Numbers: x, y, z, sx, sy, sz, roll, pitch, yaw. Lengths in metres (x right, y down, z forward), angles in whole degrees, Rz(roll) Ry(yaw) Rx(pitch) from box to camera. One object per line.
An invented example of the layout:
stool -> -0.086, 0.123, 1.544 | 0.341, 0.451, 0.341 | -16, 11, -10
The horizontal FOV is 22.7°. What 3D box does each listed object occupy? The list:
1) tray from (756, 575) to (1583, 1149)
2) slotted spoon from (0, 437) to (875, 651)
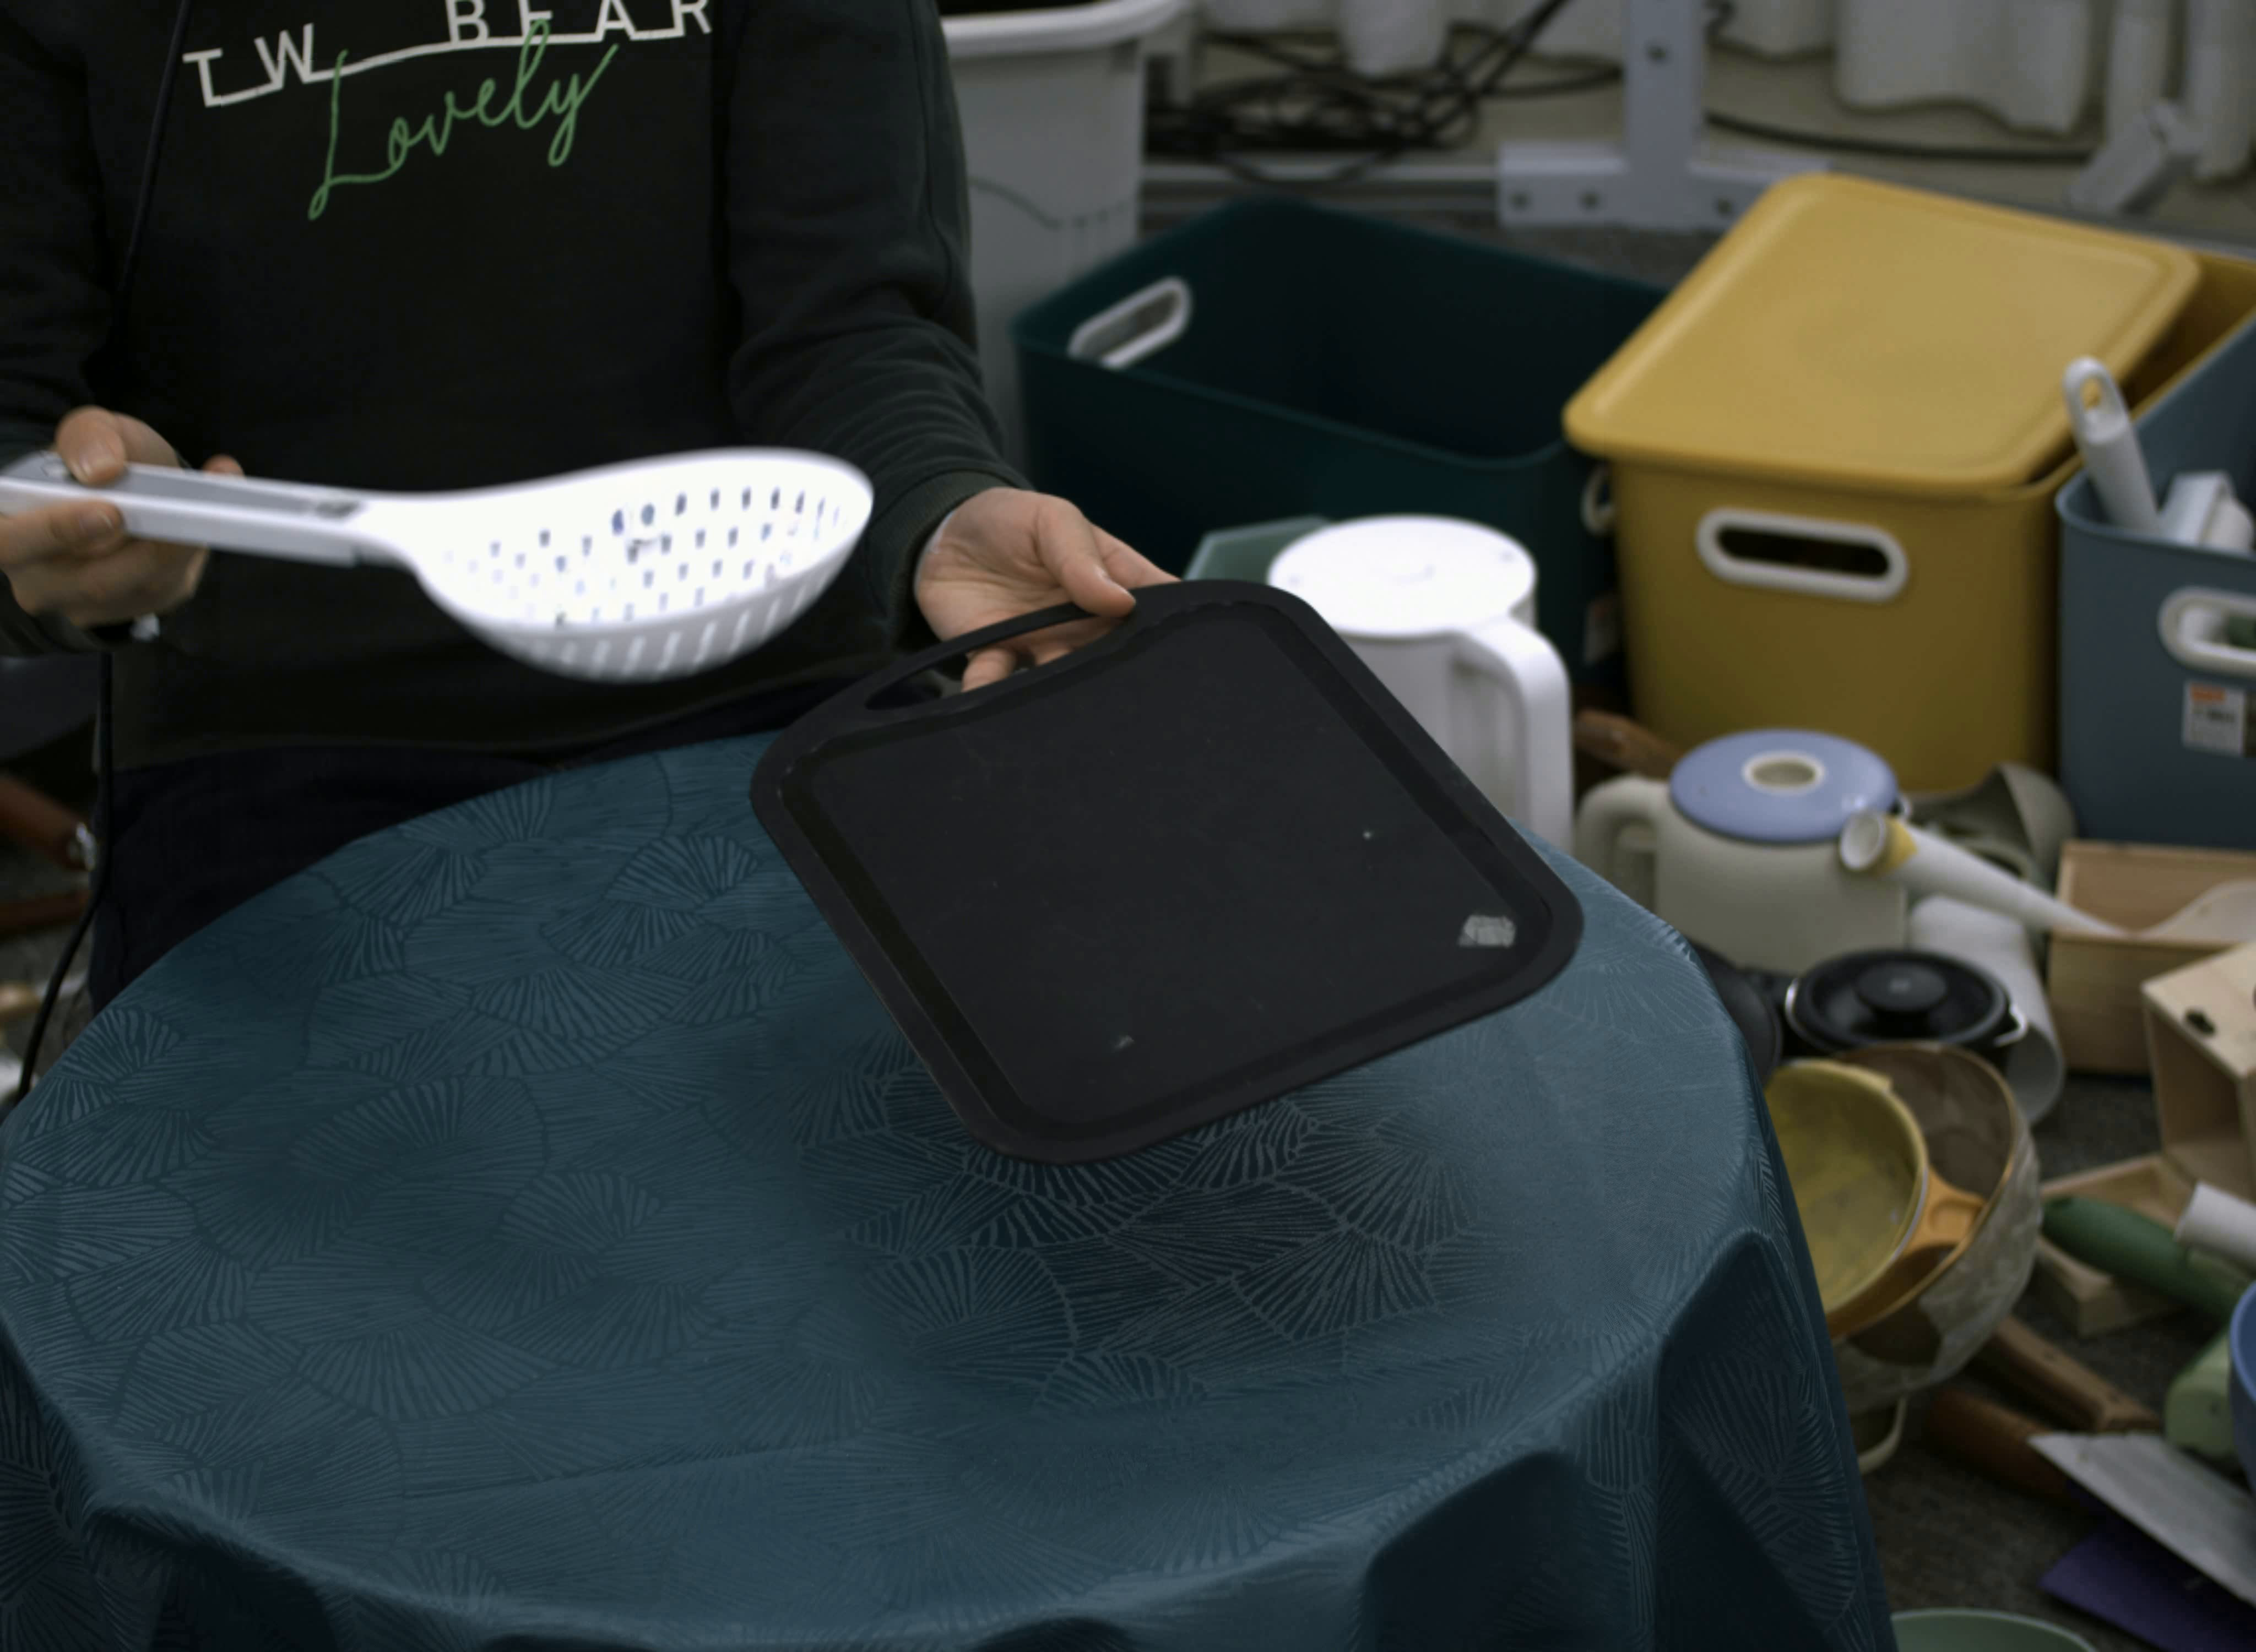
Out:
tray -> 0.003, 0.001, 1.854 | 0.211, 0.009, 0.328 | -20, 32, -12
slotted spoon -> -0.232, -0.100, 1.798 | 0.347, 0.045, 0.138 | 12, 29, 32
